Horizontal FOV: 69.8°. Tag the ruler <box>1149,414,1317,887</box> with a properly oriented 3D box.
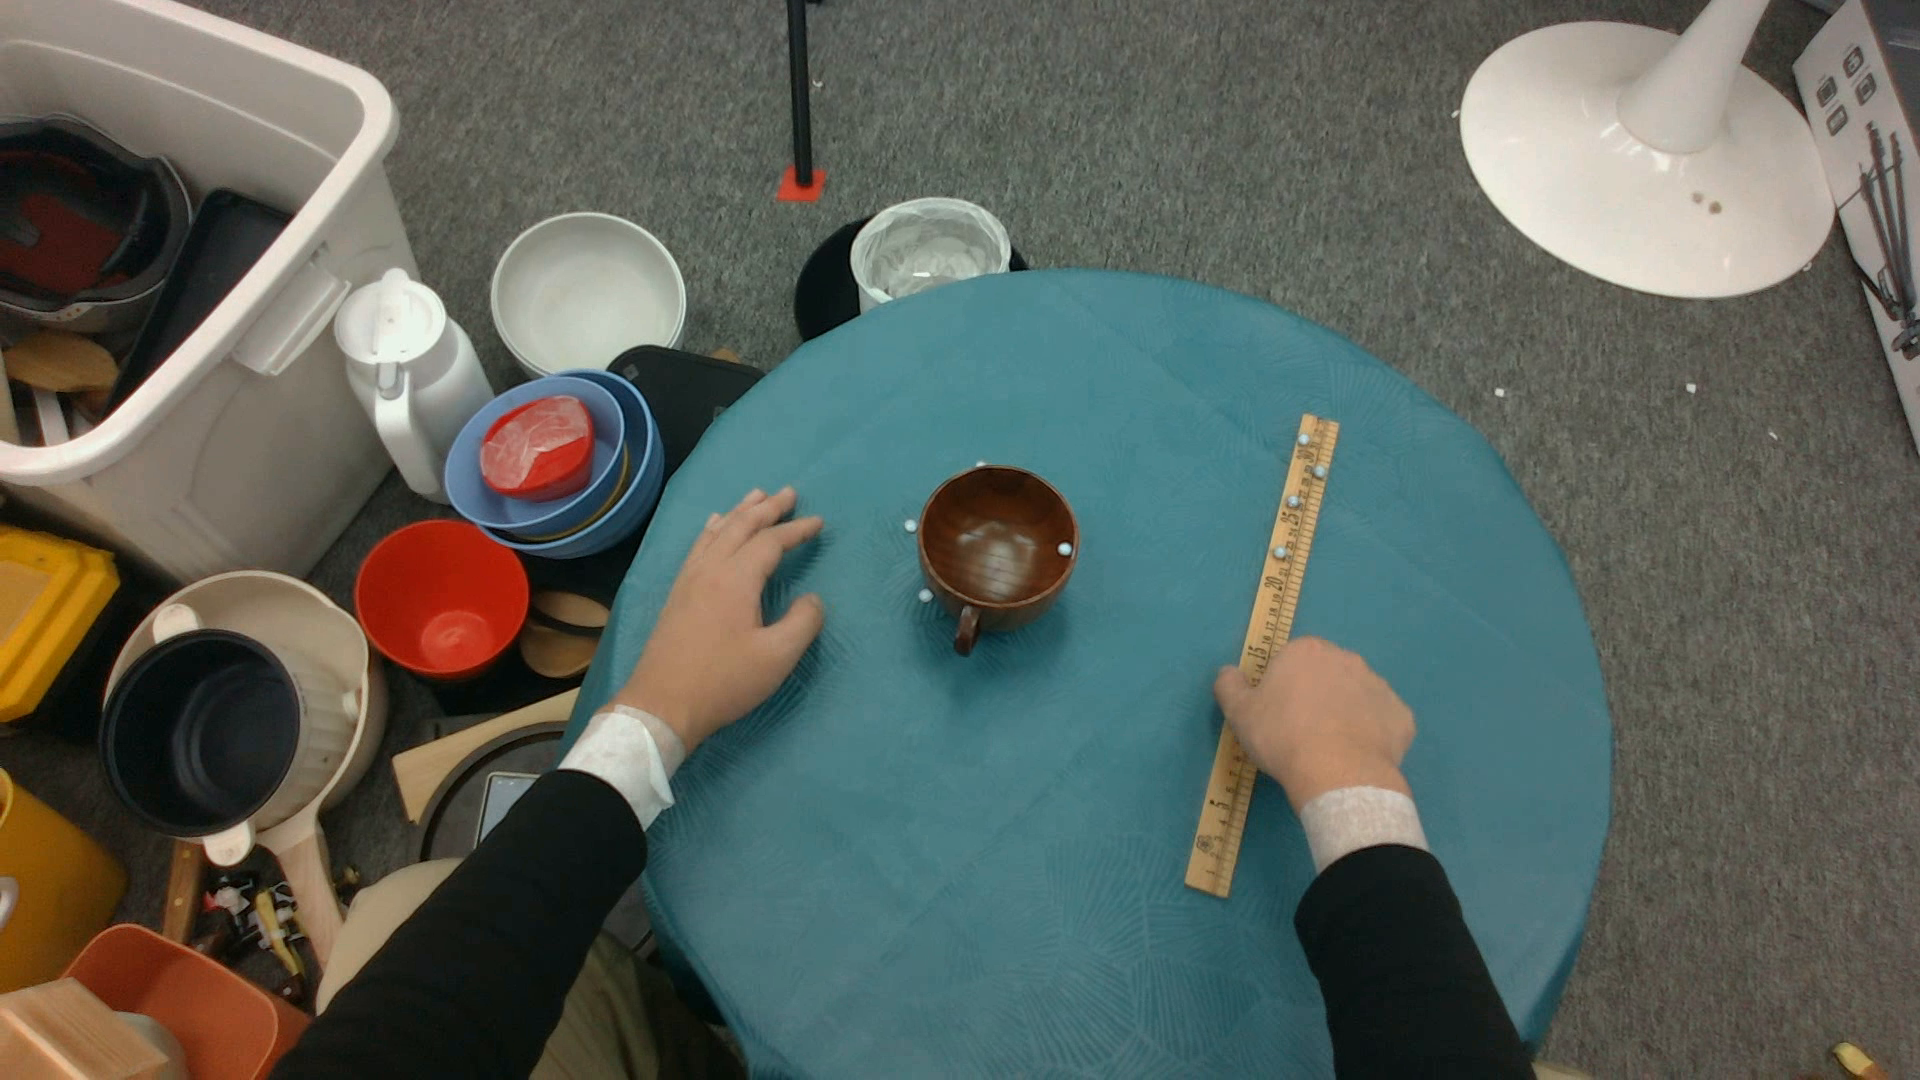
[{"bbox_3d":[0.172,0.052,0.840,0.027,0.022,0.333,17,61,10],"label":"ruler"}]

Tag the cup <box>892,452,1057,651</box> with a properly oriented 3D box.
[{"bbox_3d":[0.003,0.015,0.817,0.096,0.067,0.120,17,63,3],"label":"cup"}]
